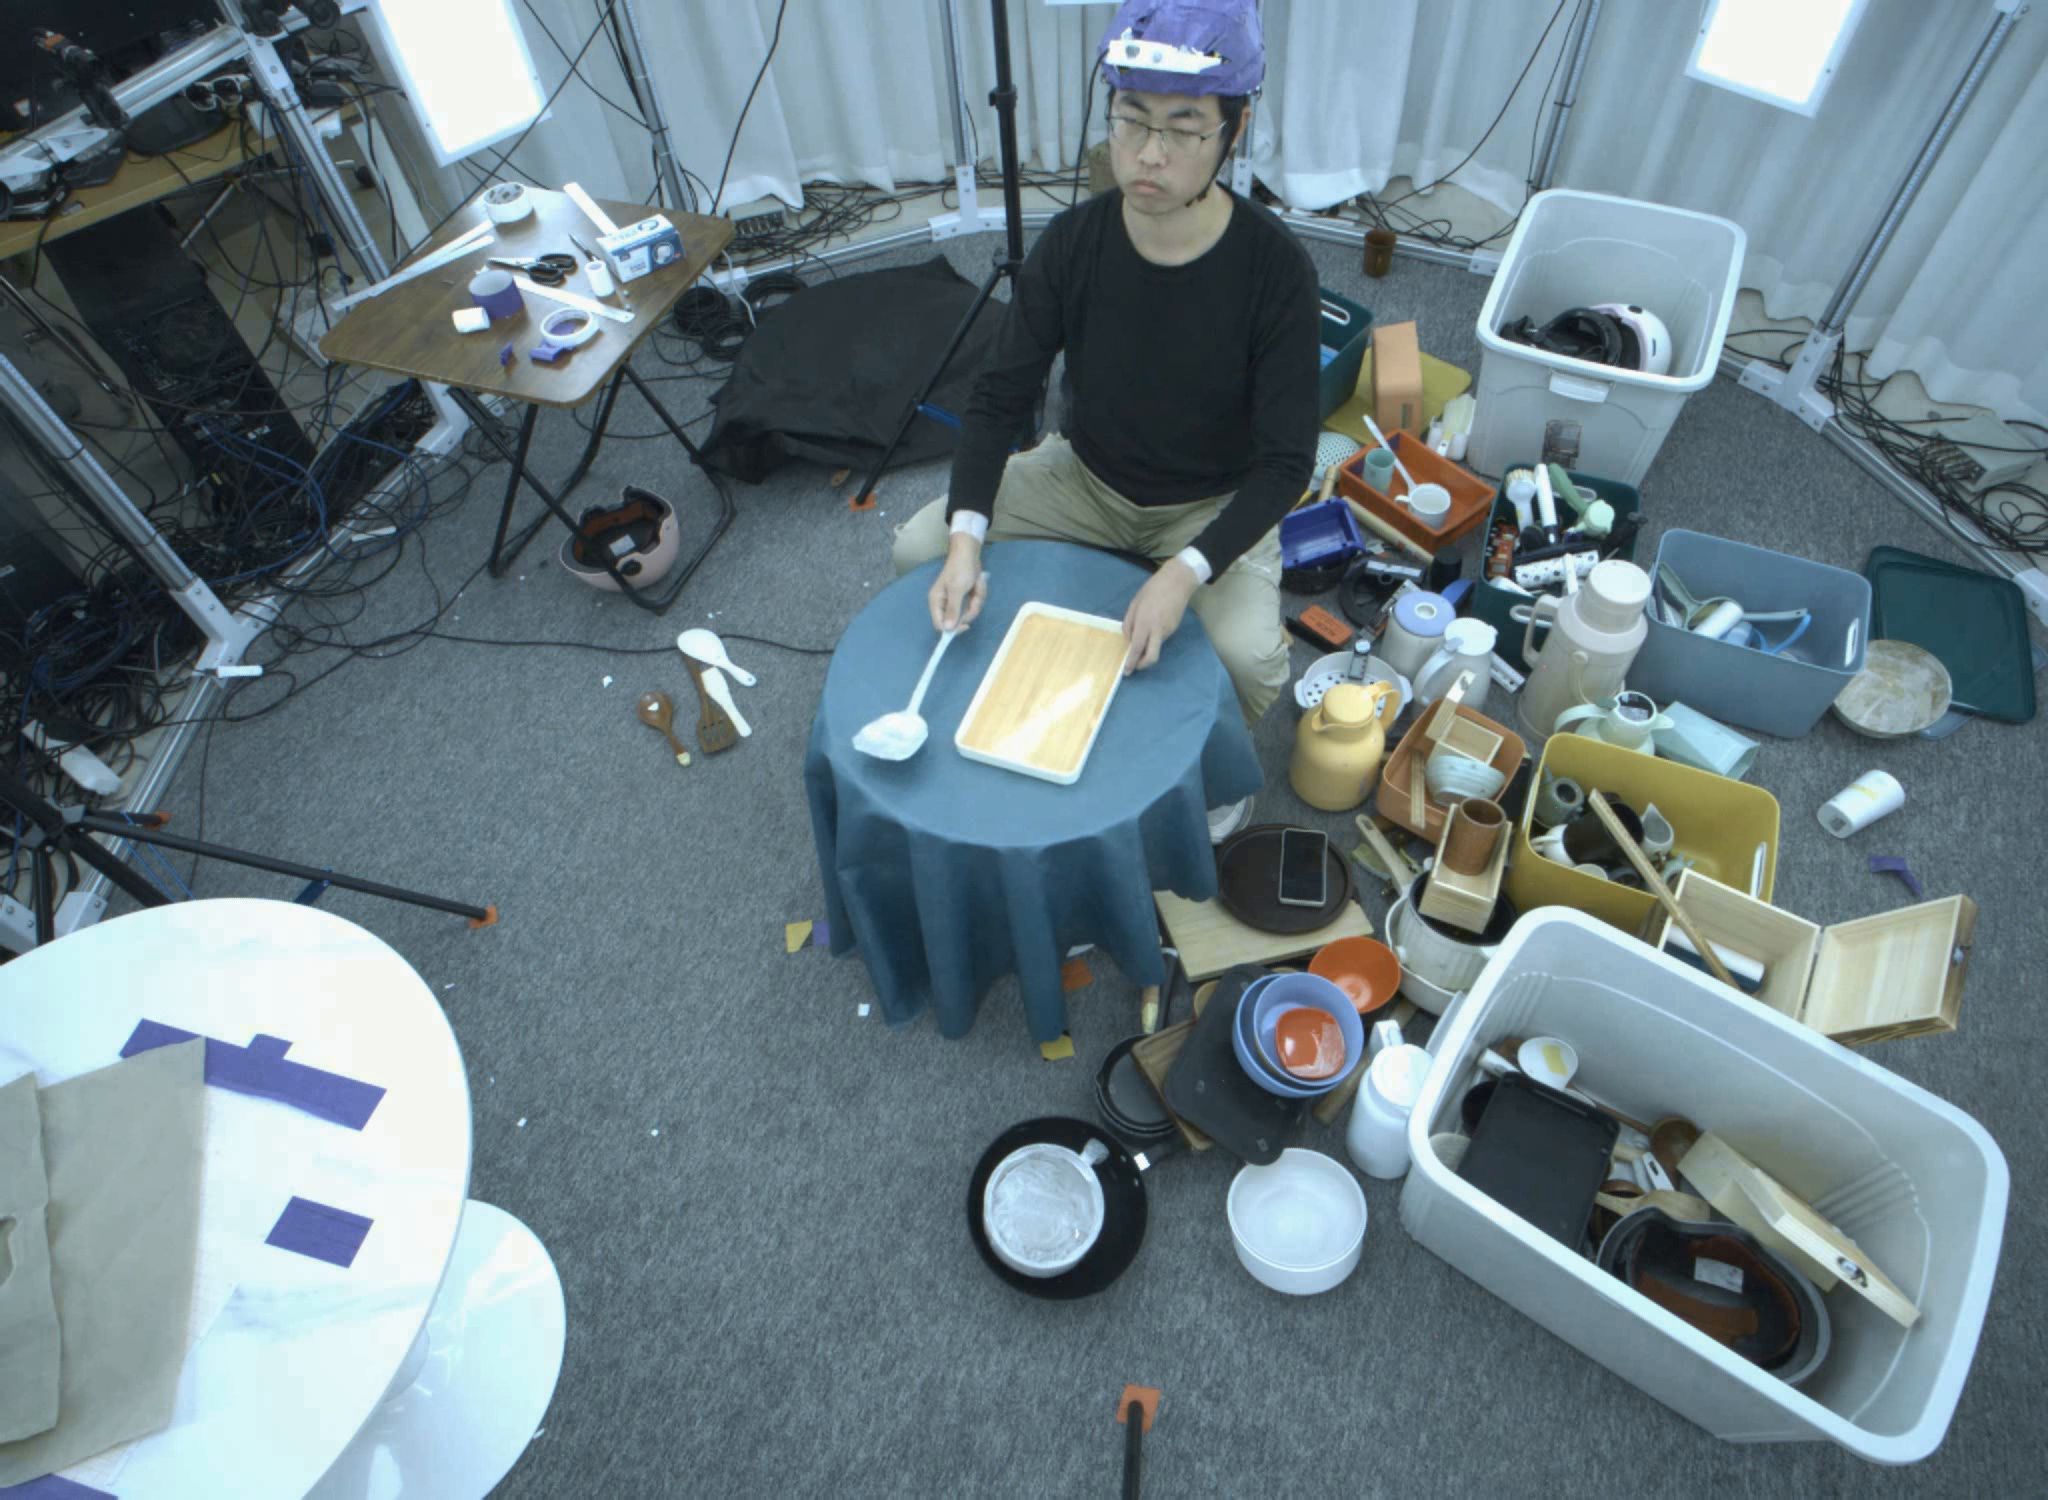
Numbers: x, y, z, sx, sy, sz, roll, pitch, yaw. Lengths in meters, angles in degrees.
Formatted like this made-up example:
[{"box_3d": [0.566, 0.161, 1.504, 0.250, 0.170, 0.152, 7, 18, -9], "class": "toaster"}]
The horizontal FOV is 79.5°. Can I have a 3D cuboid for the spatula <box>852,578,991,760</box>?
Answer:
[{"box_3d": [-0.136, -0.131, 1.817, 0.097, 0.045, 0.364, 16, 64, 19], "class": "spatula"}]

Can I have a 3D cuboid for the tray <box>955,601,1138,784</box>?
[{"box_3d": [0.037, -0.092, 1.834, 0.189, 0.028, 0.300, 16, 57, 14], "class": "tray"}]
